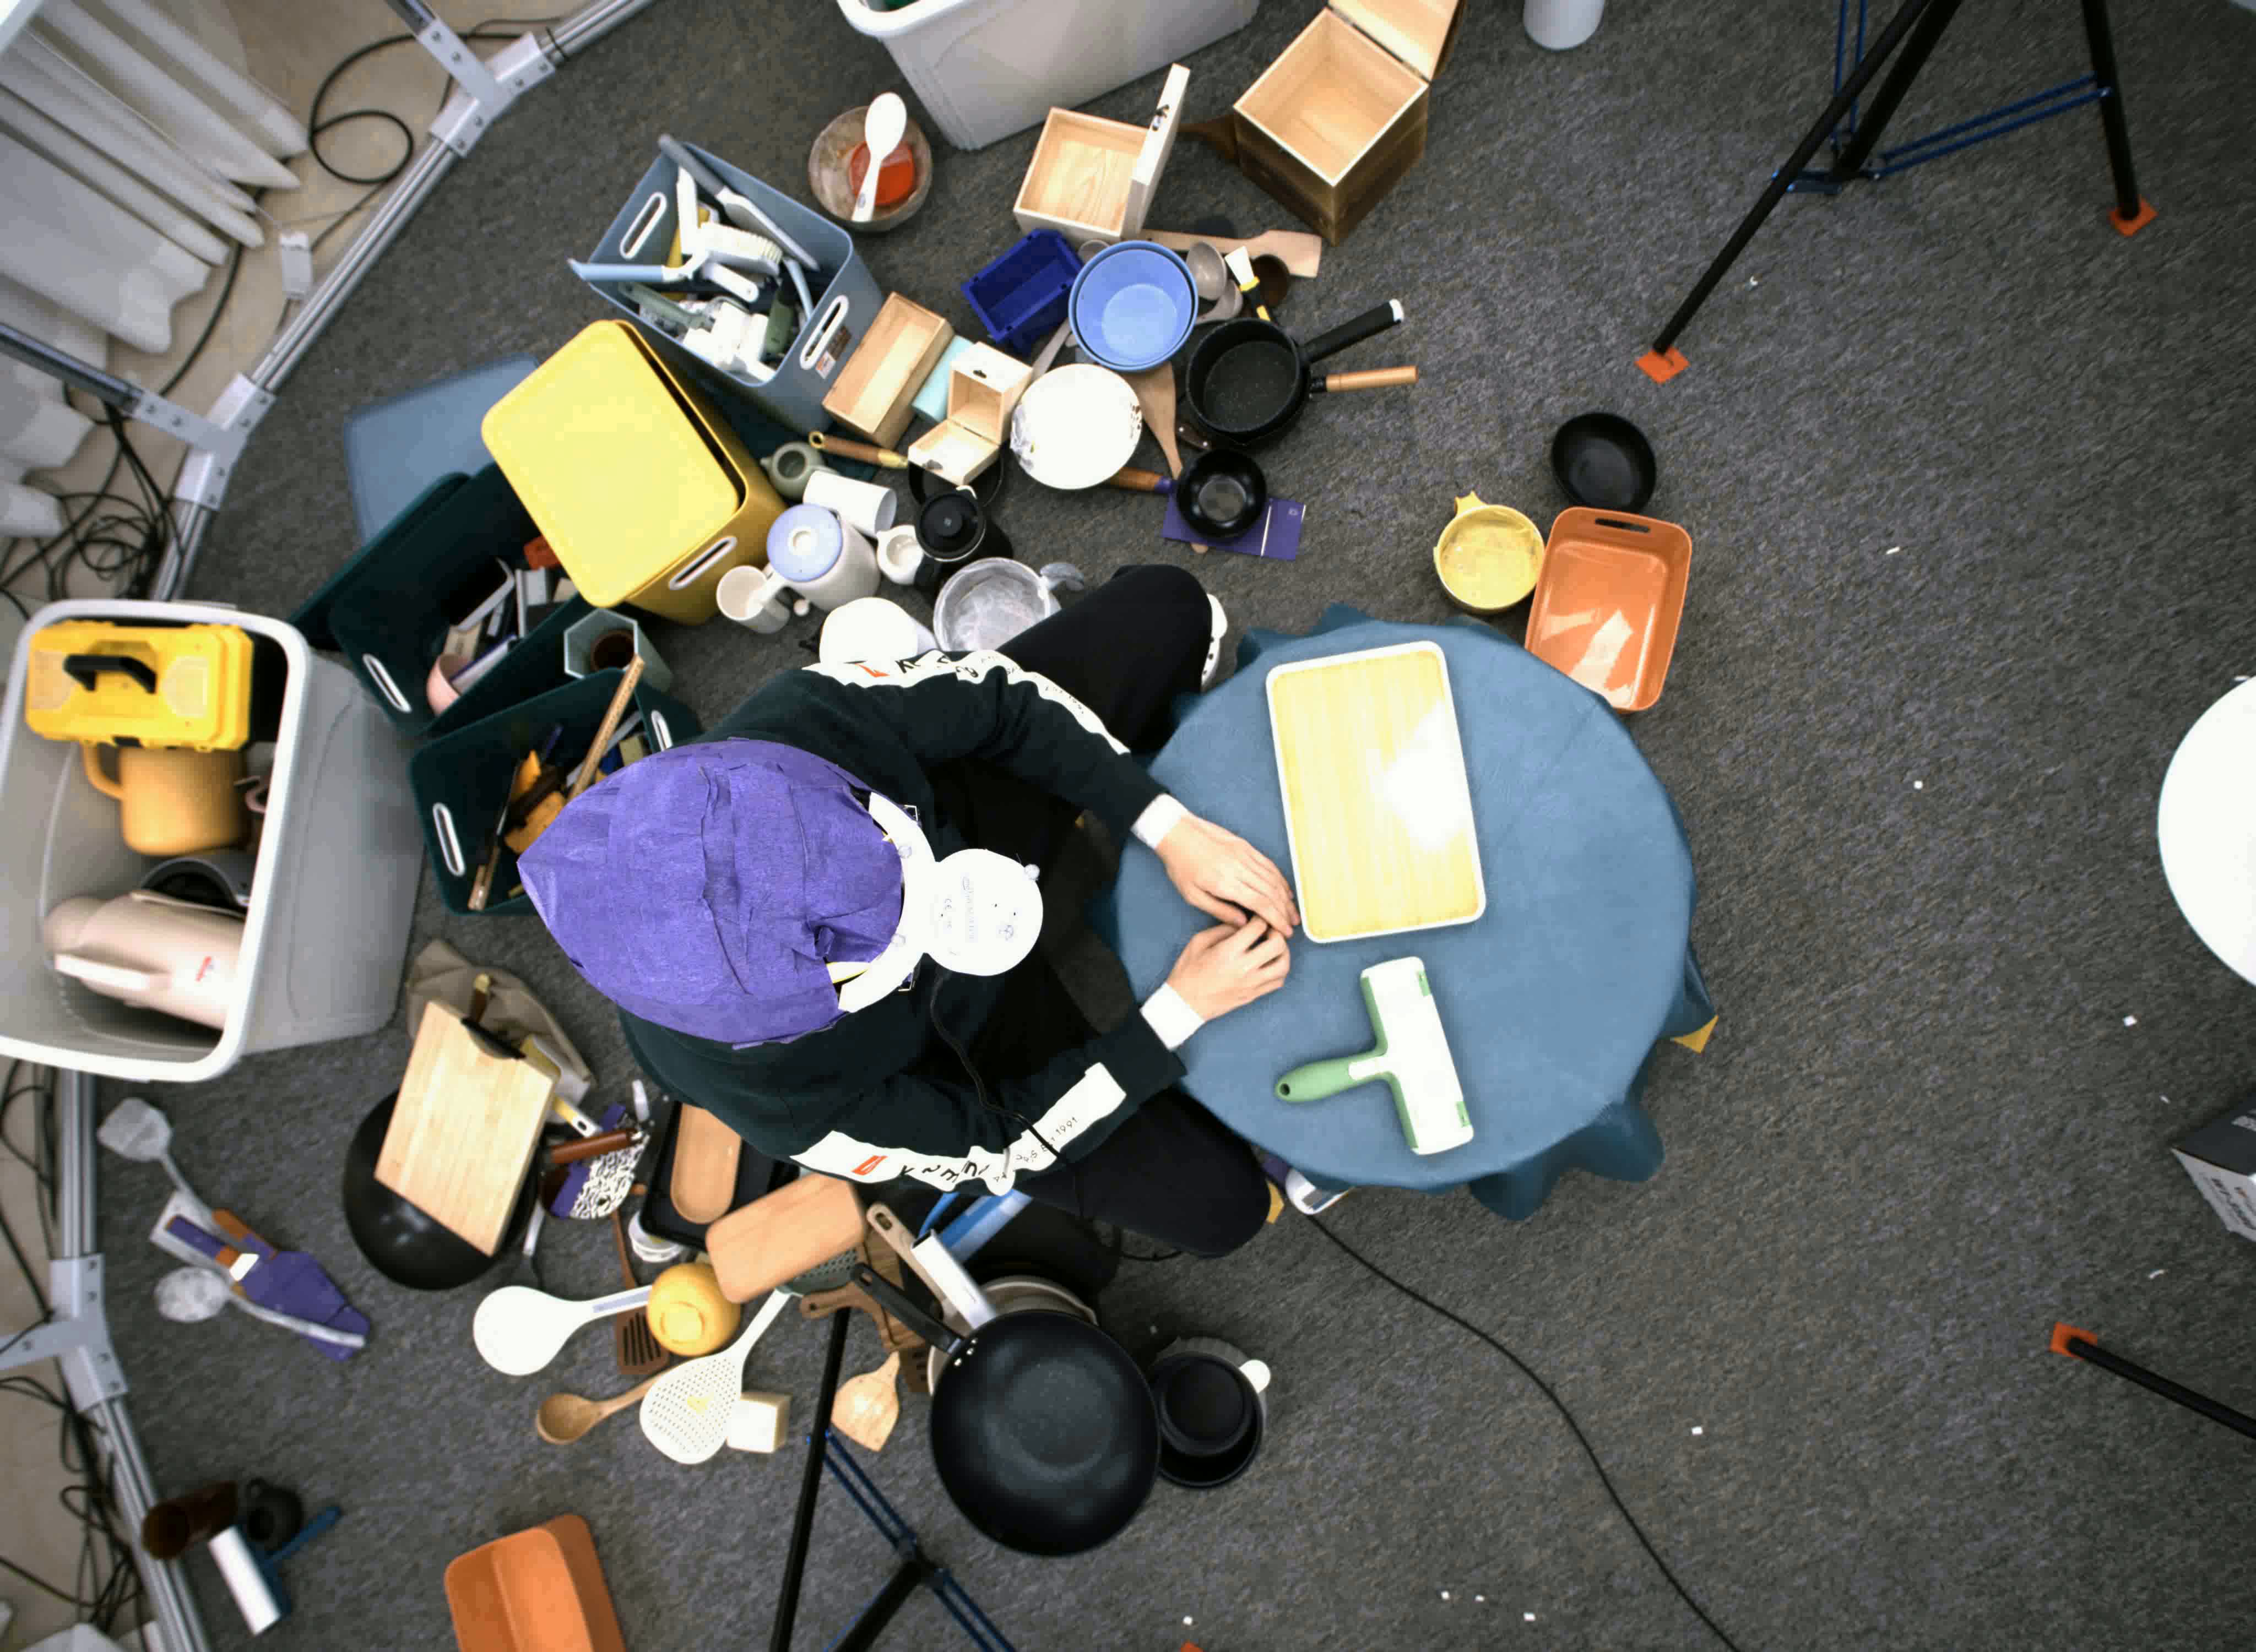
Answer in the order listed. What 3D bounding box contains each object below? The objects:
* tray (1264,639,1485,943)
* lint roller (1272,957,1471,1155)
[{"bbox_3d":[0.258,-0.038,1.450,0.192,0.027,0.299,-9,86,10],"label":"tray"},{"bbox_3d":[0.237,0.248,1.414,0.184,0.082,0.197,-16,84,5],"label":"lint roller"}]
